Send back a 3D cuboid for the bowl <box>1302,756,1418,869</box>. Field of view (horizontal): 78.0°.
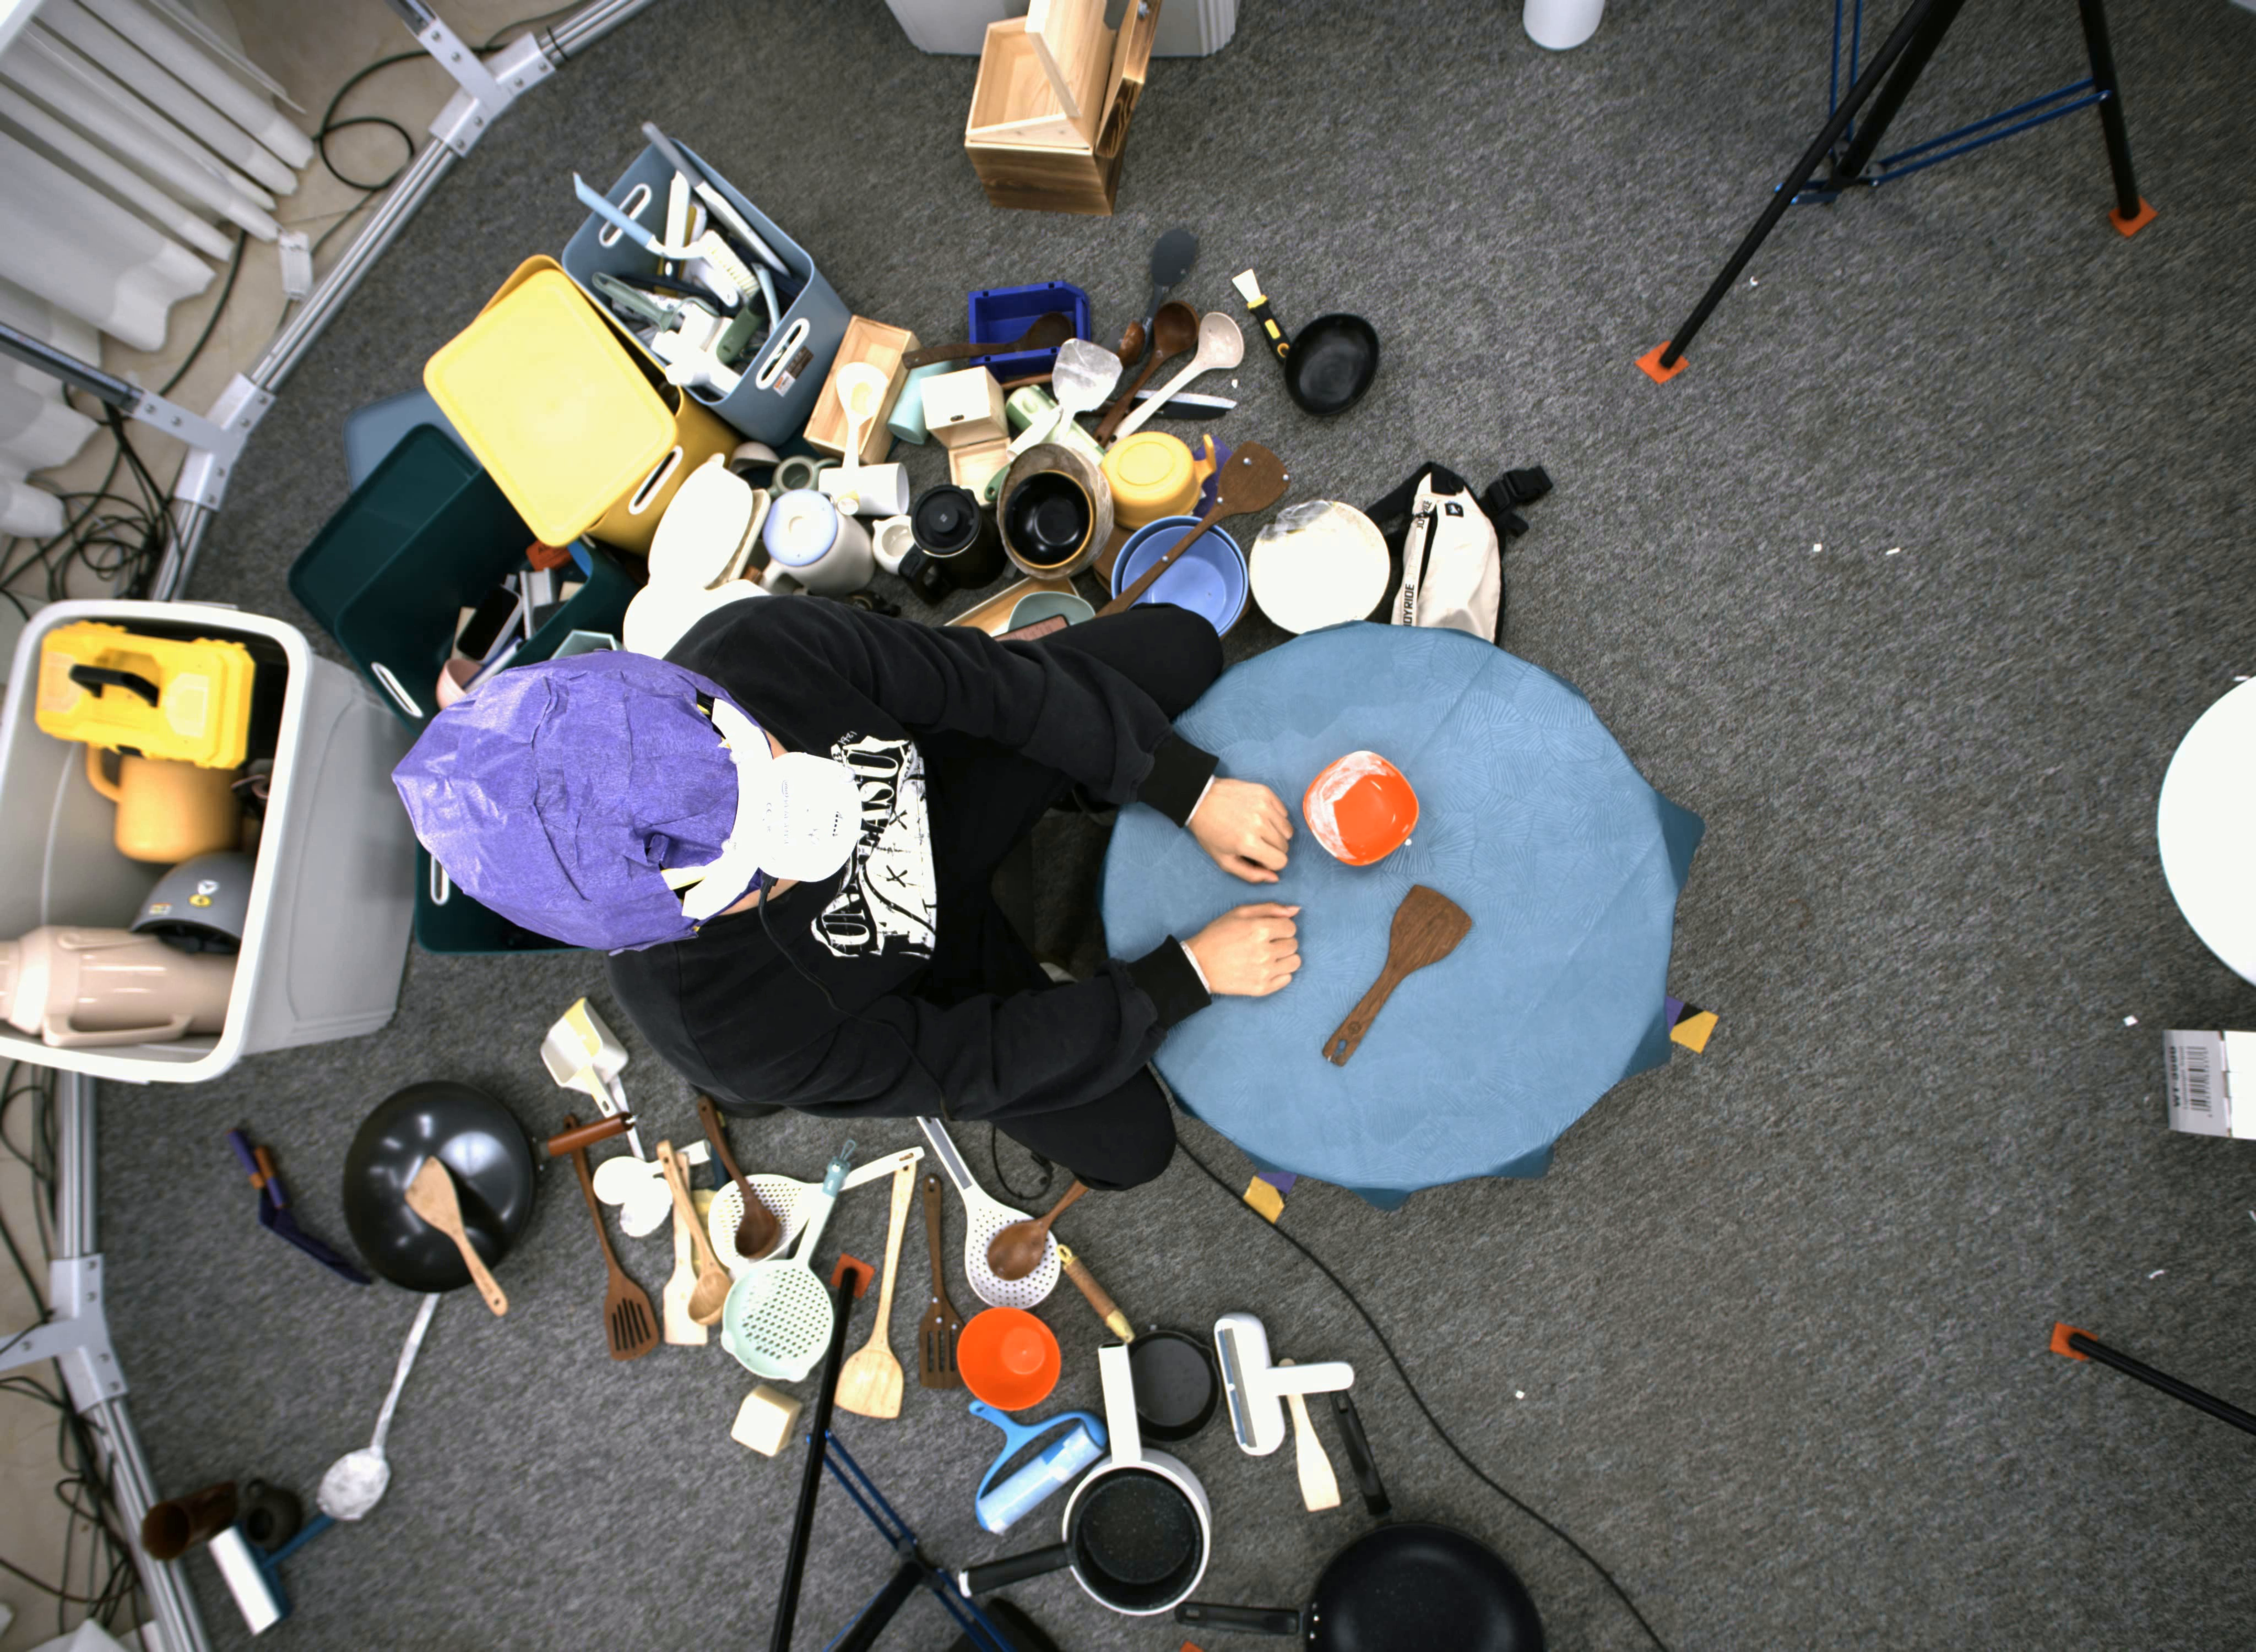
[{"bbox_3d":[0.243,-0.013,1.452,0.119,0.051,0.118,-1,87,8],"label":"bowl"}]

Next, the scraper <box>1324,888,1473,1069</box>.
[{"bbox_3d":[0.276,0.164,1.453,0.075,0.011,0.212,36,94,12],"label":"scraper"}]
